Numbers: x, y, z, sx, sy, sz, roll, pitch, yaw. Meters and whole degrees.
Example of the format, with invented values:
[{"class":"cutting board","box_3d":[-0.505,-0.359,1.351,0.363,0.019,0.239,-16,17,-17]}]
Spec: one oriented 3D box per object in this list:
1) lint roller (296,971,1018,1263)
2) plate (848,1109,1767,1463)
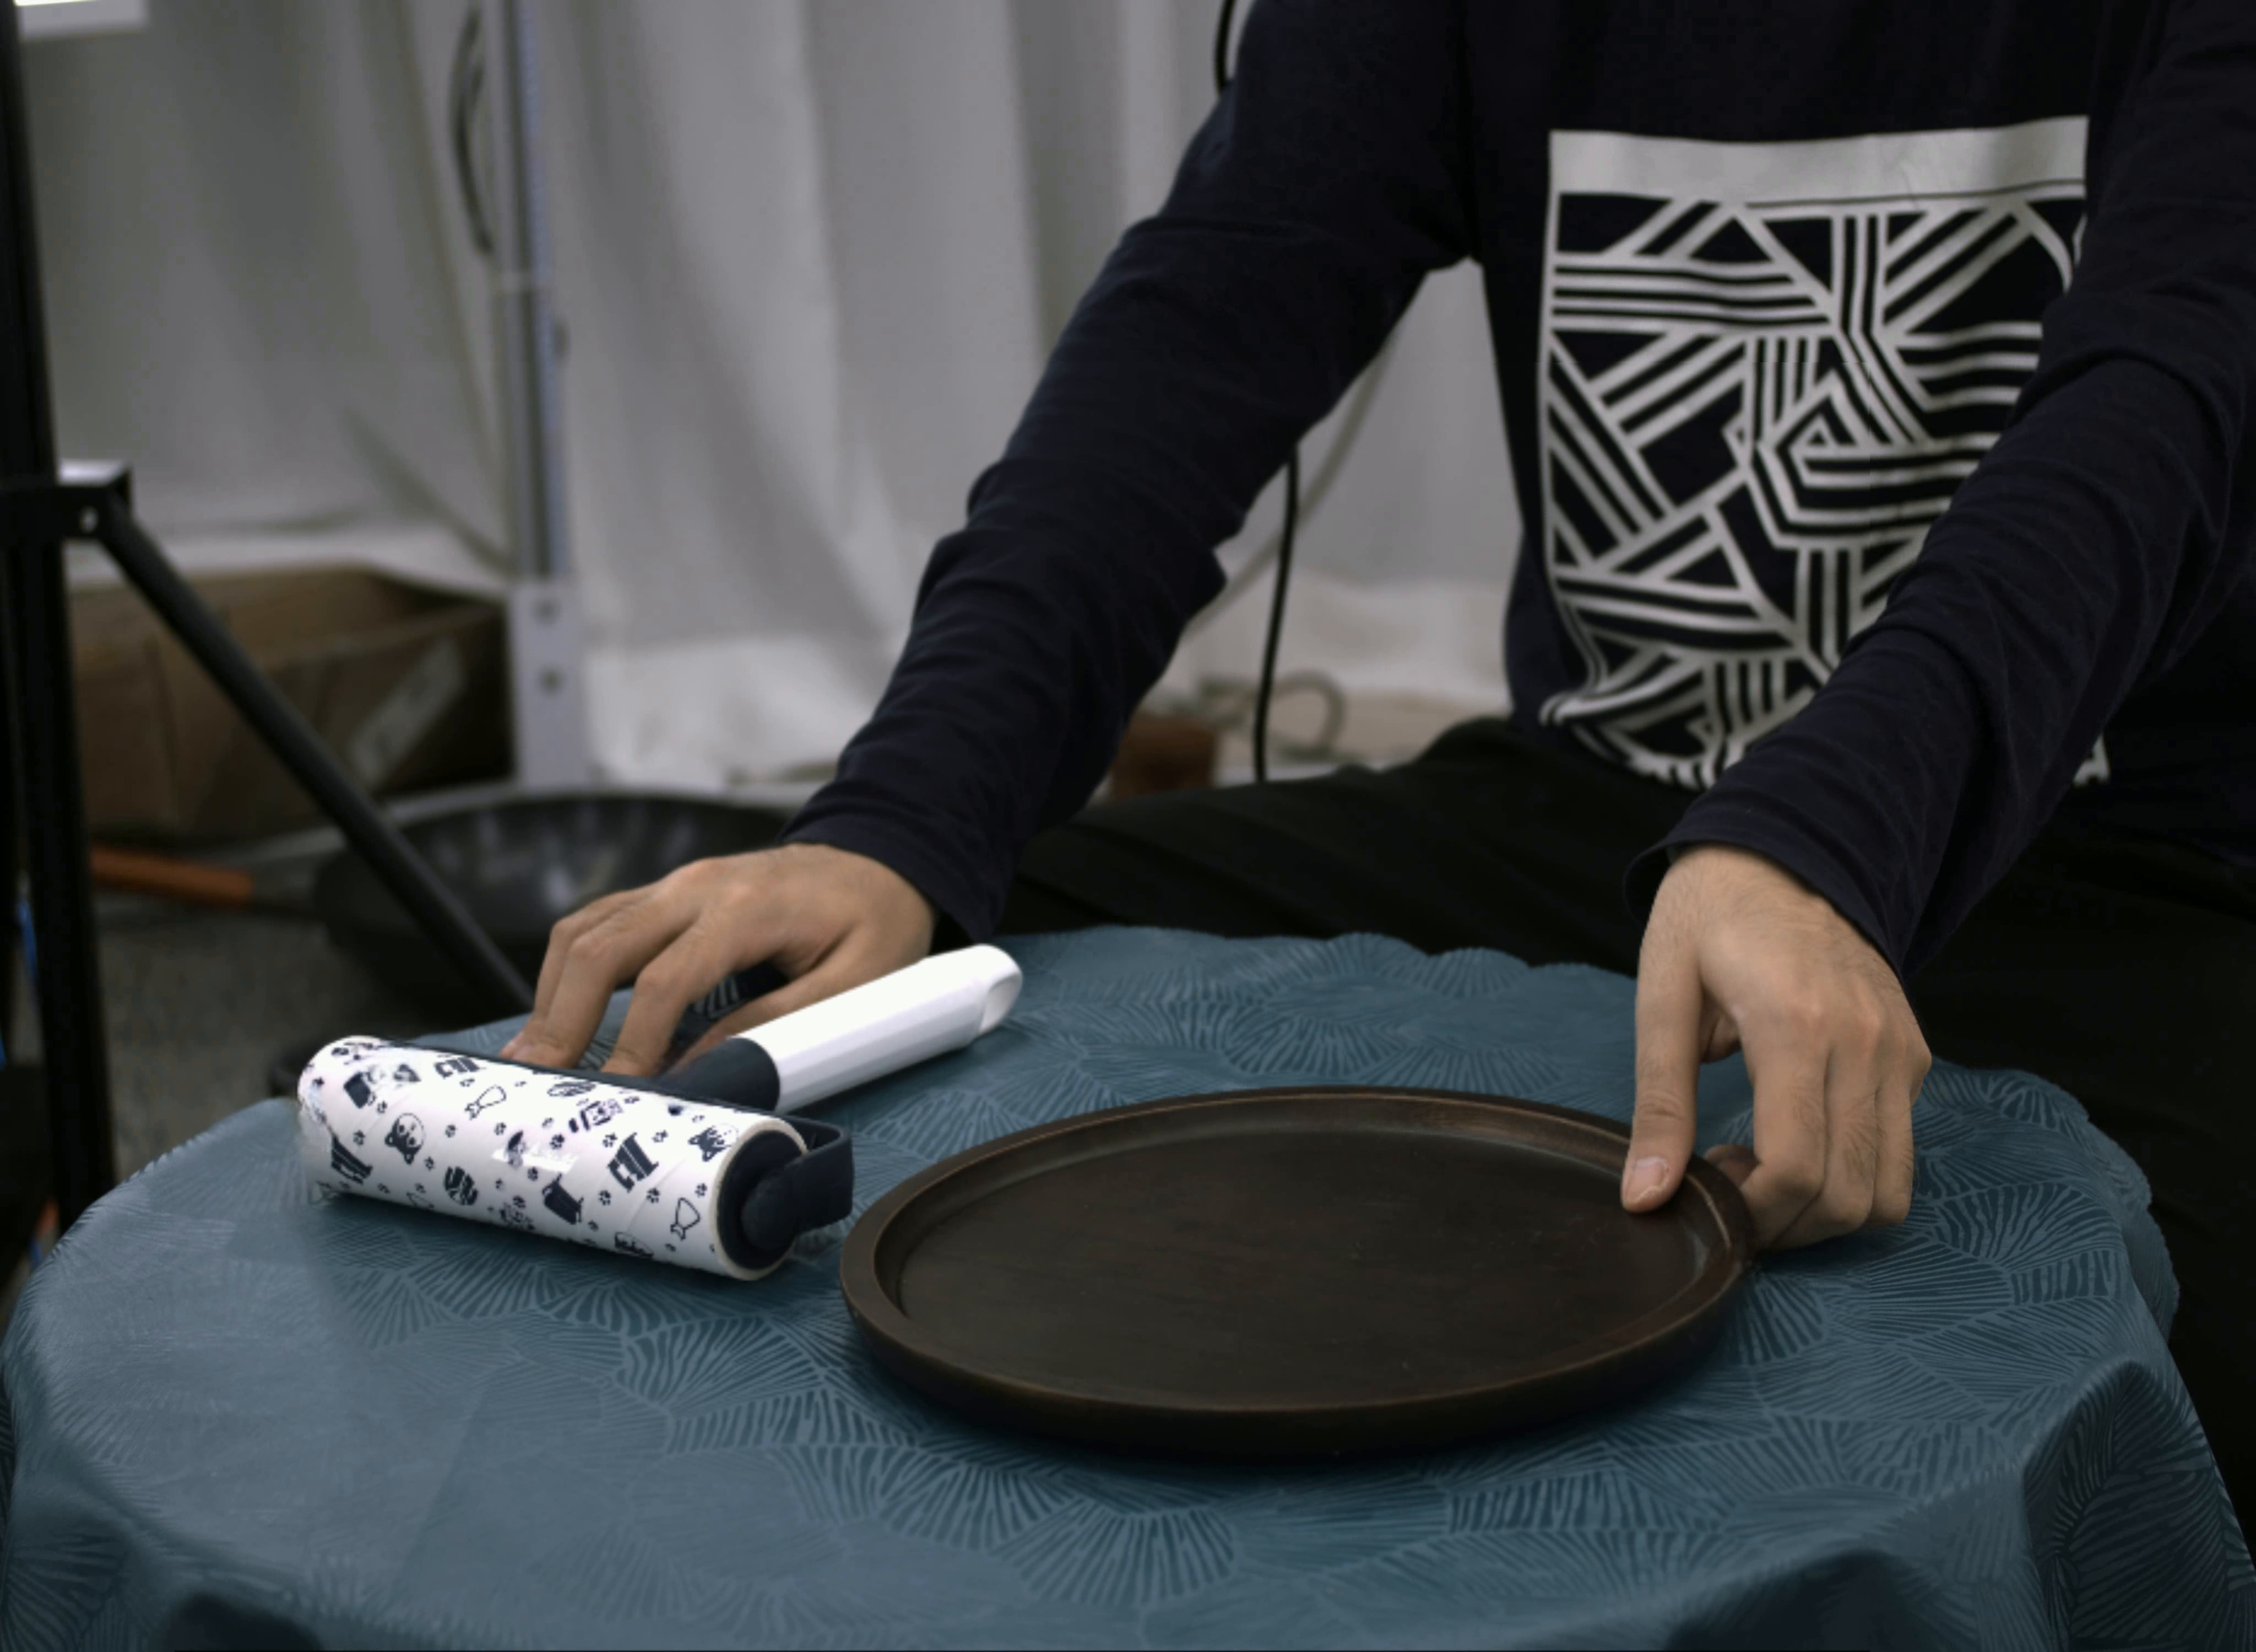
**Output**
[{"class":"lint roller","box_3d":[-0.112,0.073,1.628,0.180,0.050,0.242,7,16,34]},{"class":"plate","box_3d":[0.049,0.123,1.458,0.253,0.029,0.256,-2,14,-1]}]
